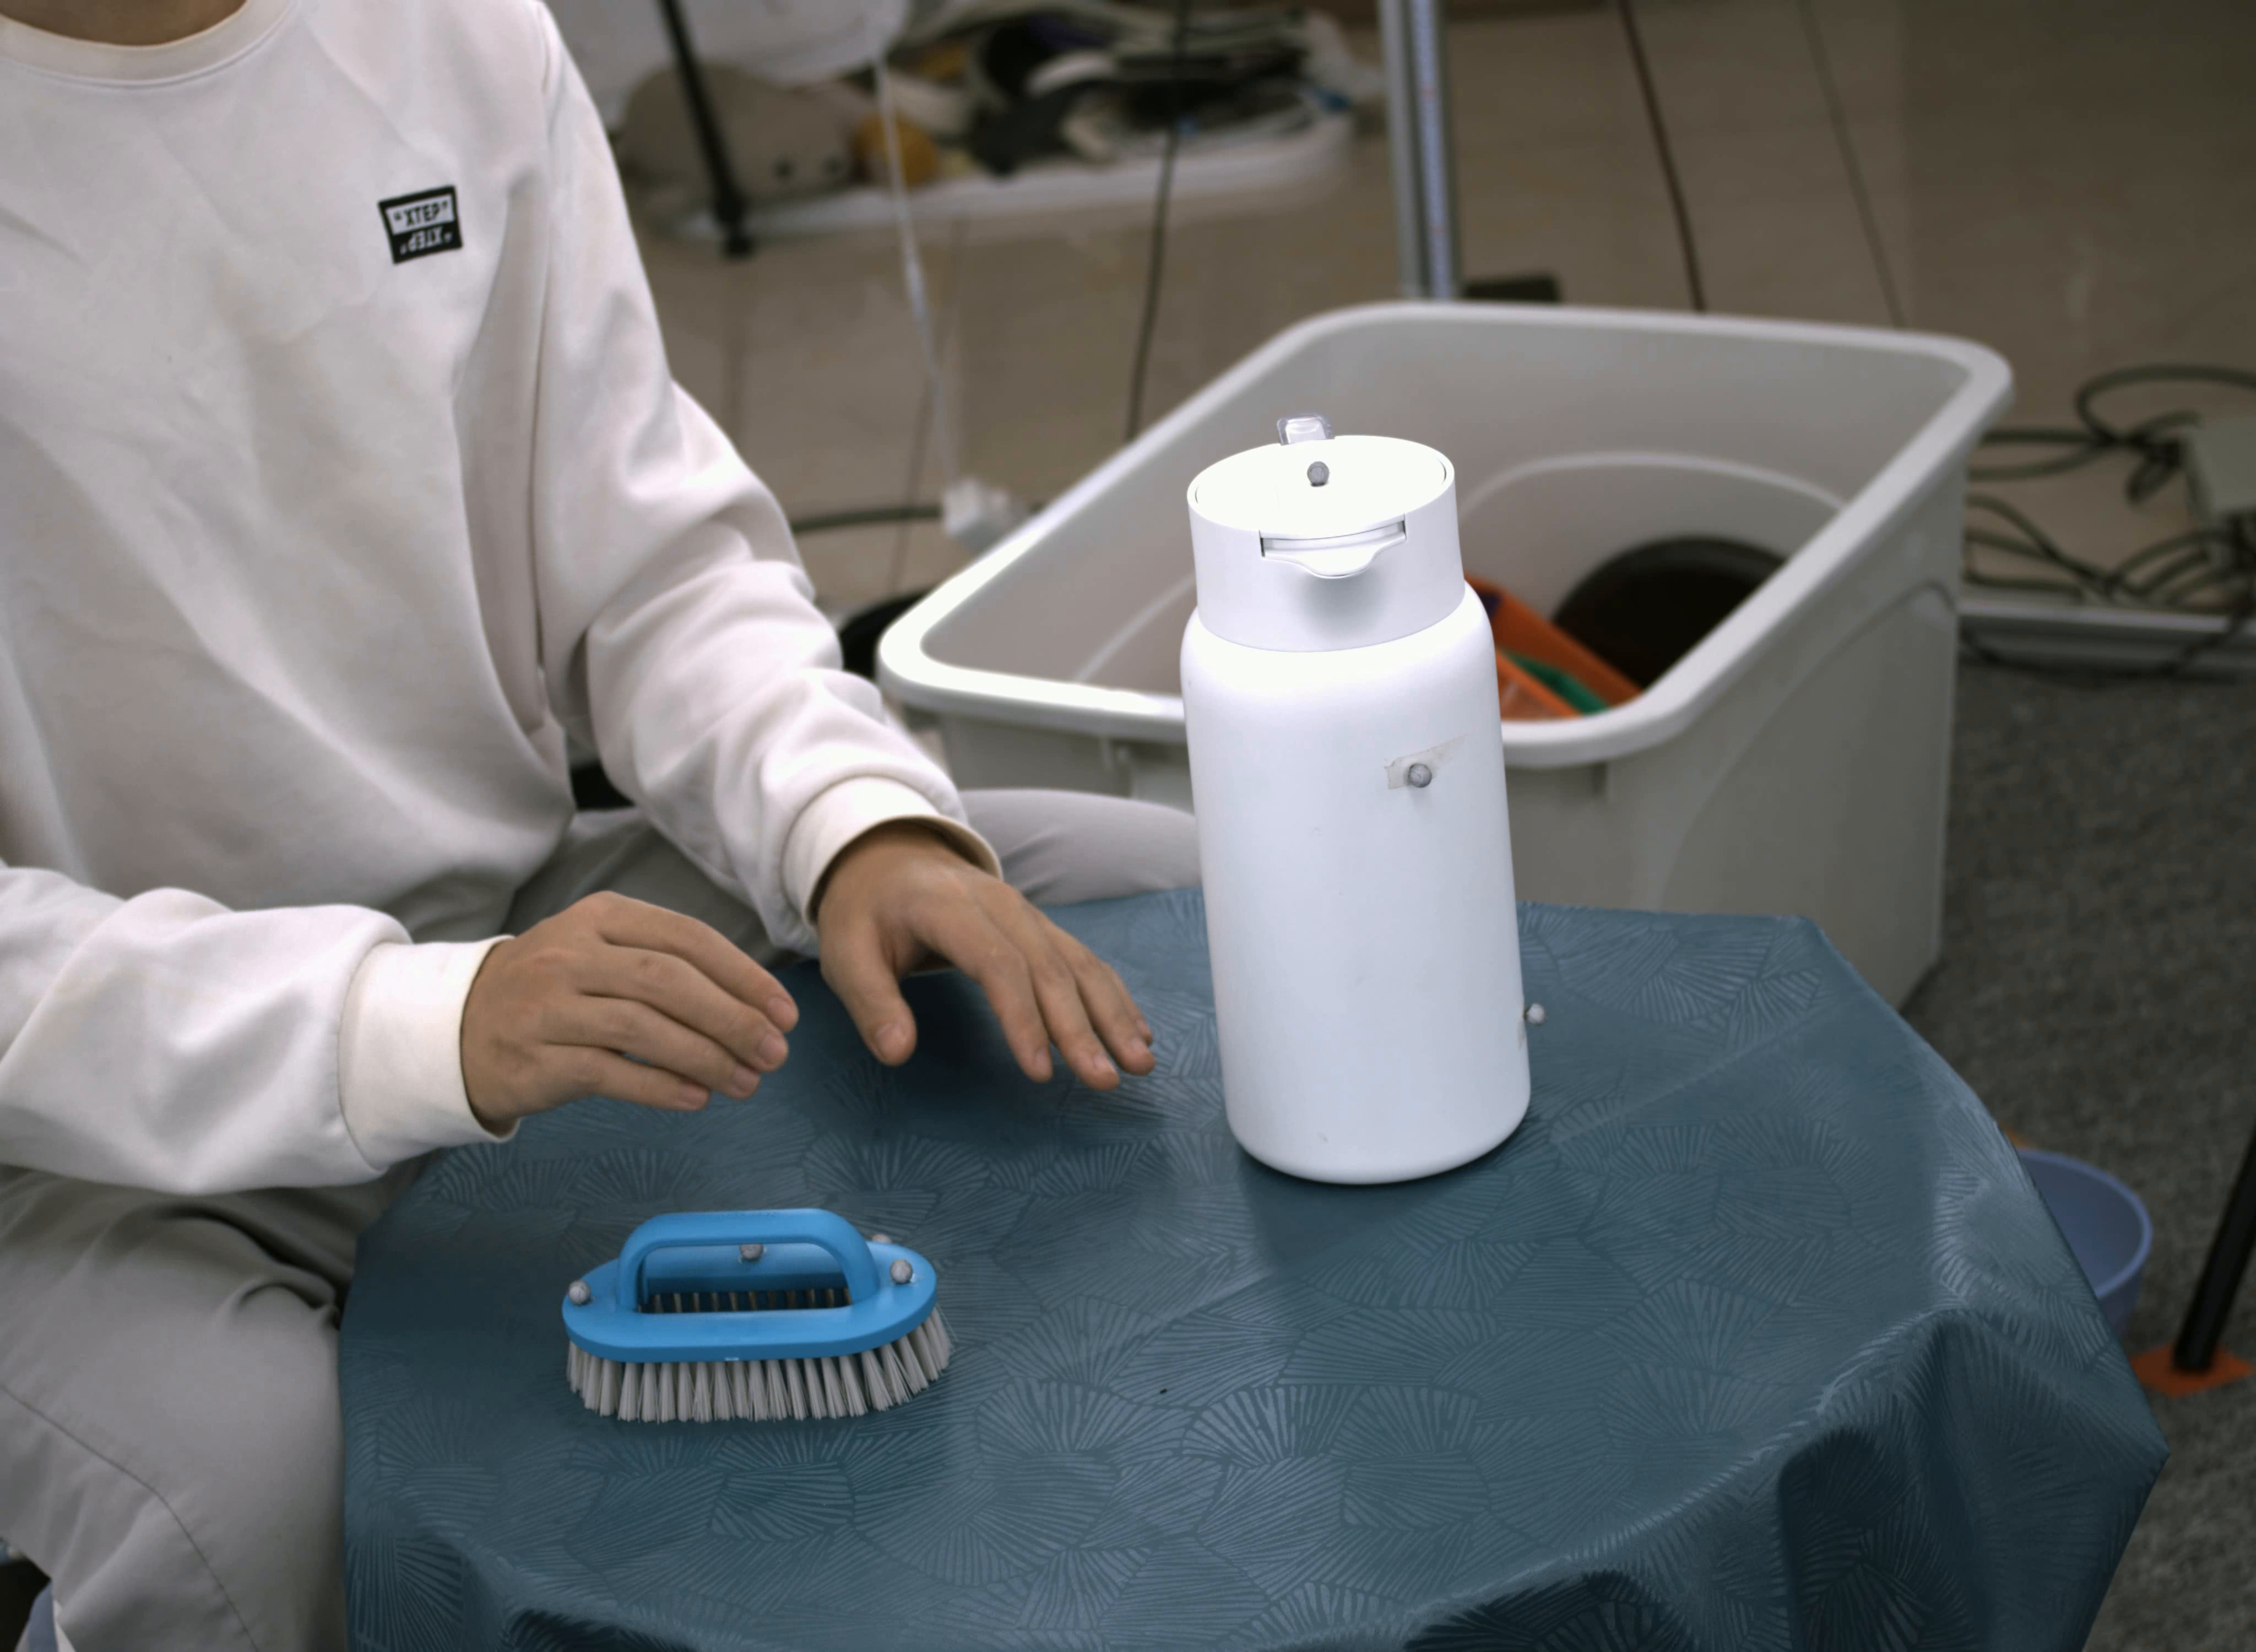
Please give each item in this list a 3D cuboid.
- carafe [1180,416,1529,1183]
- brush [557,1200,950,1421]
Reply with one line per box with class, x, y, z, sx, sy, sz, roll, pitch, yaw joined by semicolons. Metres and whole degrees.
carafe;0.081;-0.014;2.135;0.123;0.273;0.170;-9;25;-1
brush;-0.138;0.166;2.042;0.141;0.065;0.083;-2;31;11
